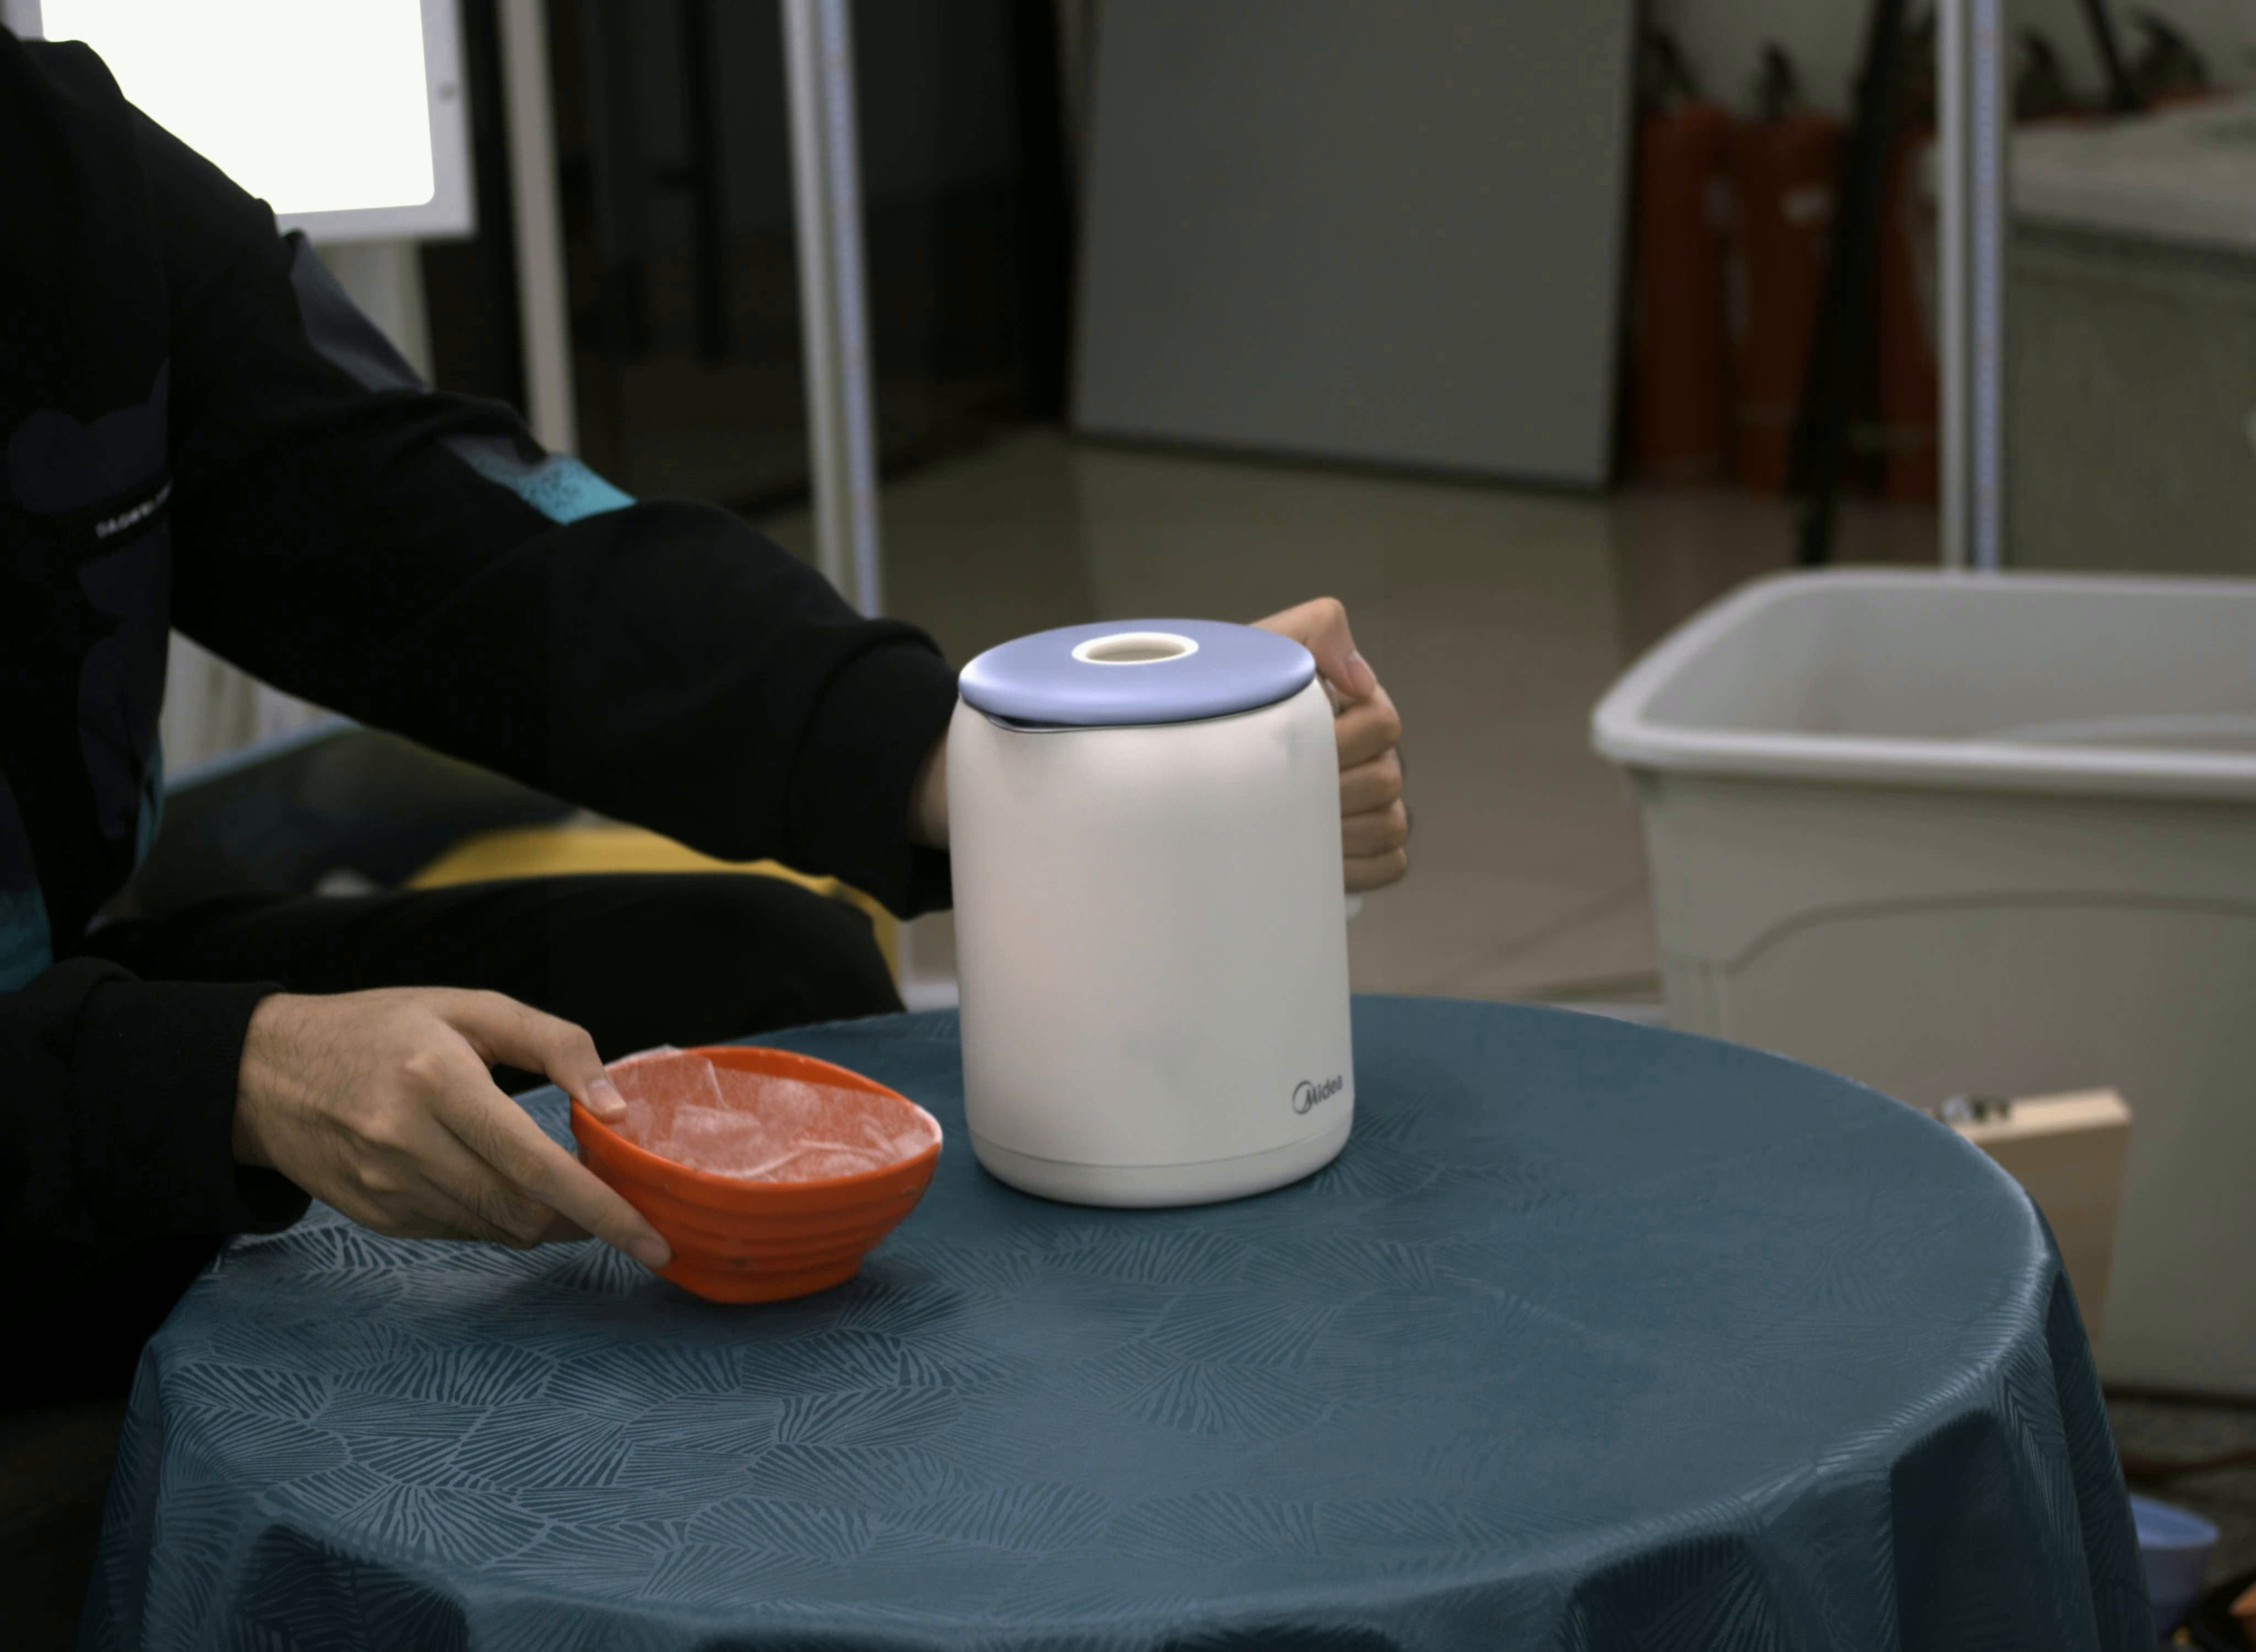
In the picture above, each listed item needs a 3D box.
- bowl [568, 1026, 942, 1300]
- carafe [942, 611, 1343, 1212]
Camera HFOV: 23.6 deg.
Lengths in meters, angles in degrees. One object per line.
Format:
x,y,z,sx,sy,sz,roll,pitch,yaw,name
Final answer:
-0.119,0.109,1.700,0.117,0.052,0.119,6,21,-3,bowl
0.018,0.022,1.805,0.133,0.184,0.188,8,16,33,carafe
